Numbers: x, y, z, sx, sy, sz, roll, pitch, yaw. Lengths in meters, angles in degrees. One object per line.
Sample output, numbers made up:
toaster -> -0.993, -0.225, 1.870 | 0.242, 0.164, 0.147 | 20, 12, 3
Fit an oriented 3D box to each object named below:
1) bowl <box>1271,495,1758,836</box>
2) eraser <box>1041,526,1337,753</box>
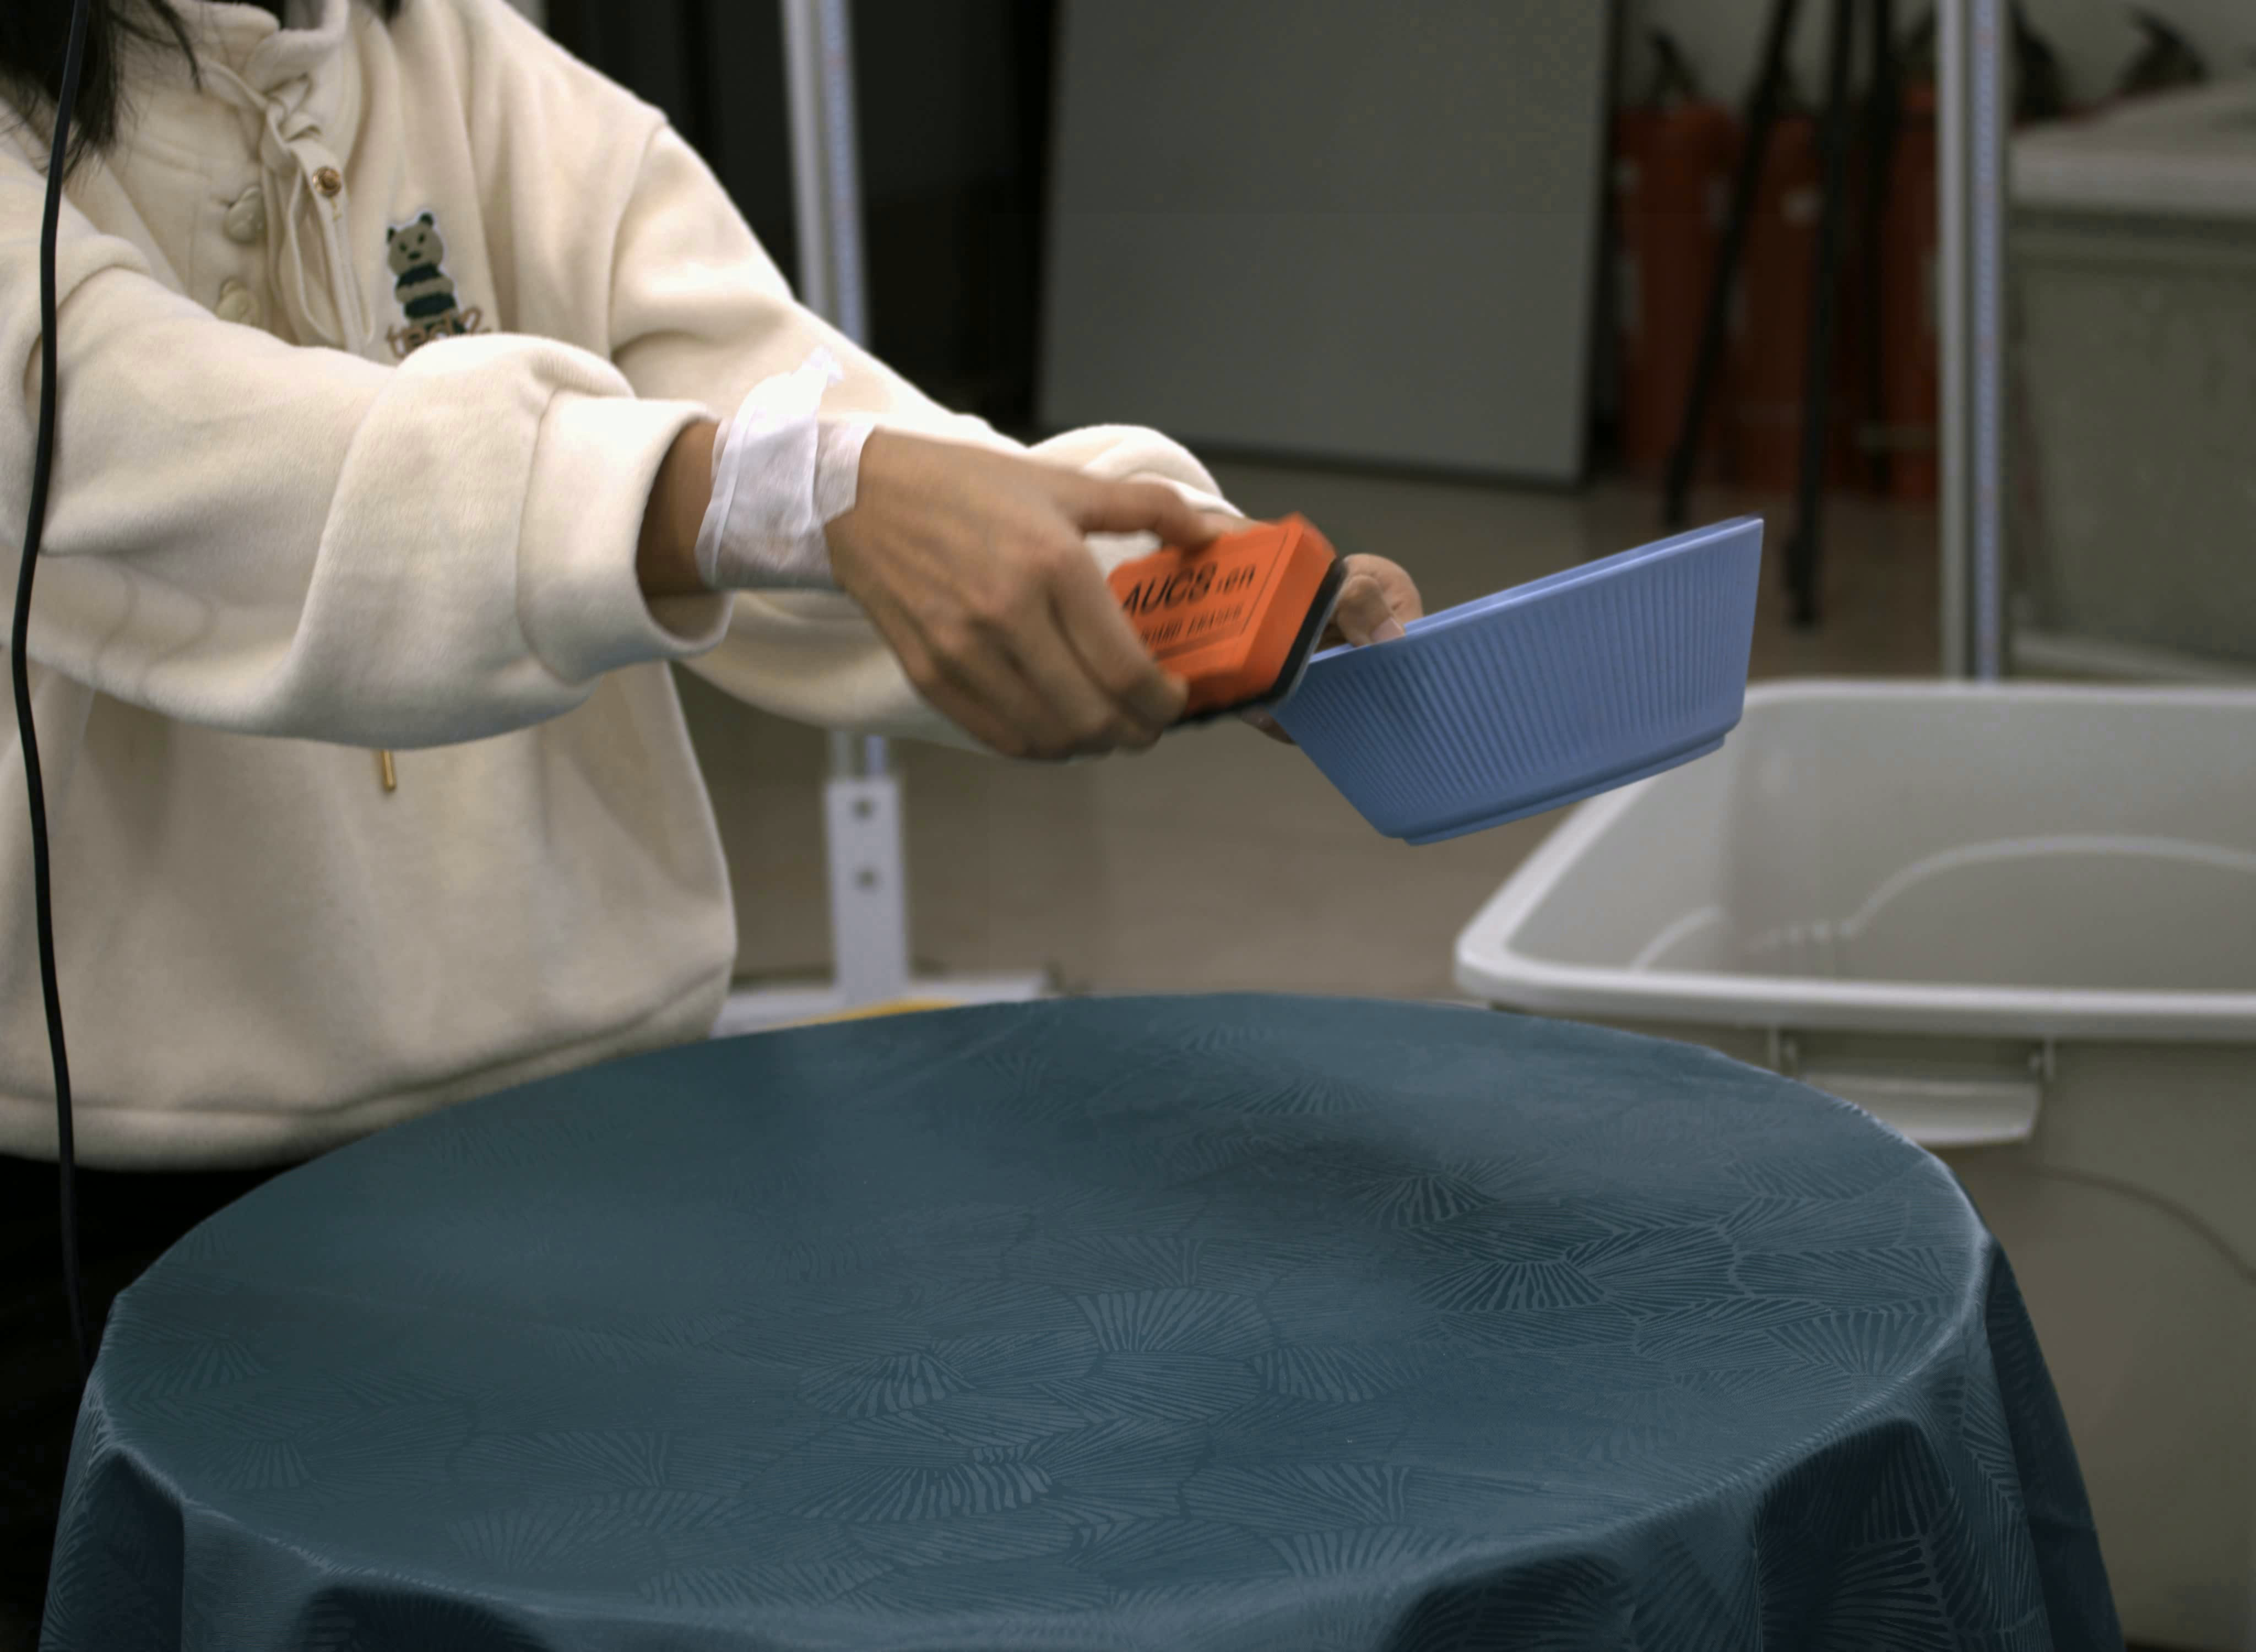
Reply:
bowl -> 0.127, -0.046, 1.717 | 0.174, 0.071, 0.176 | -19, 1, -1
eraser -> 0.018, -0.056, 1.652 | 0.022, 0.059, 0.109 | 34, -23, -26
